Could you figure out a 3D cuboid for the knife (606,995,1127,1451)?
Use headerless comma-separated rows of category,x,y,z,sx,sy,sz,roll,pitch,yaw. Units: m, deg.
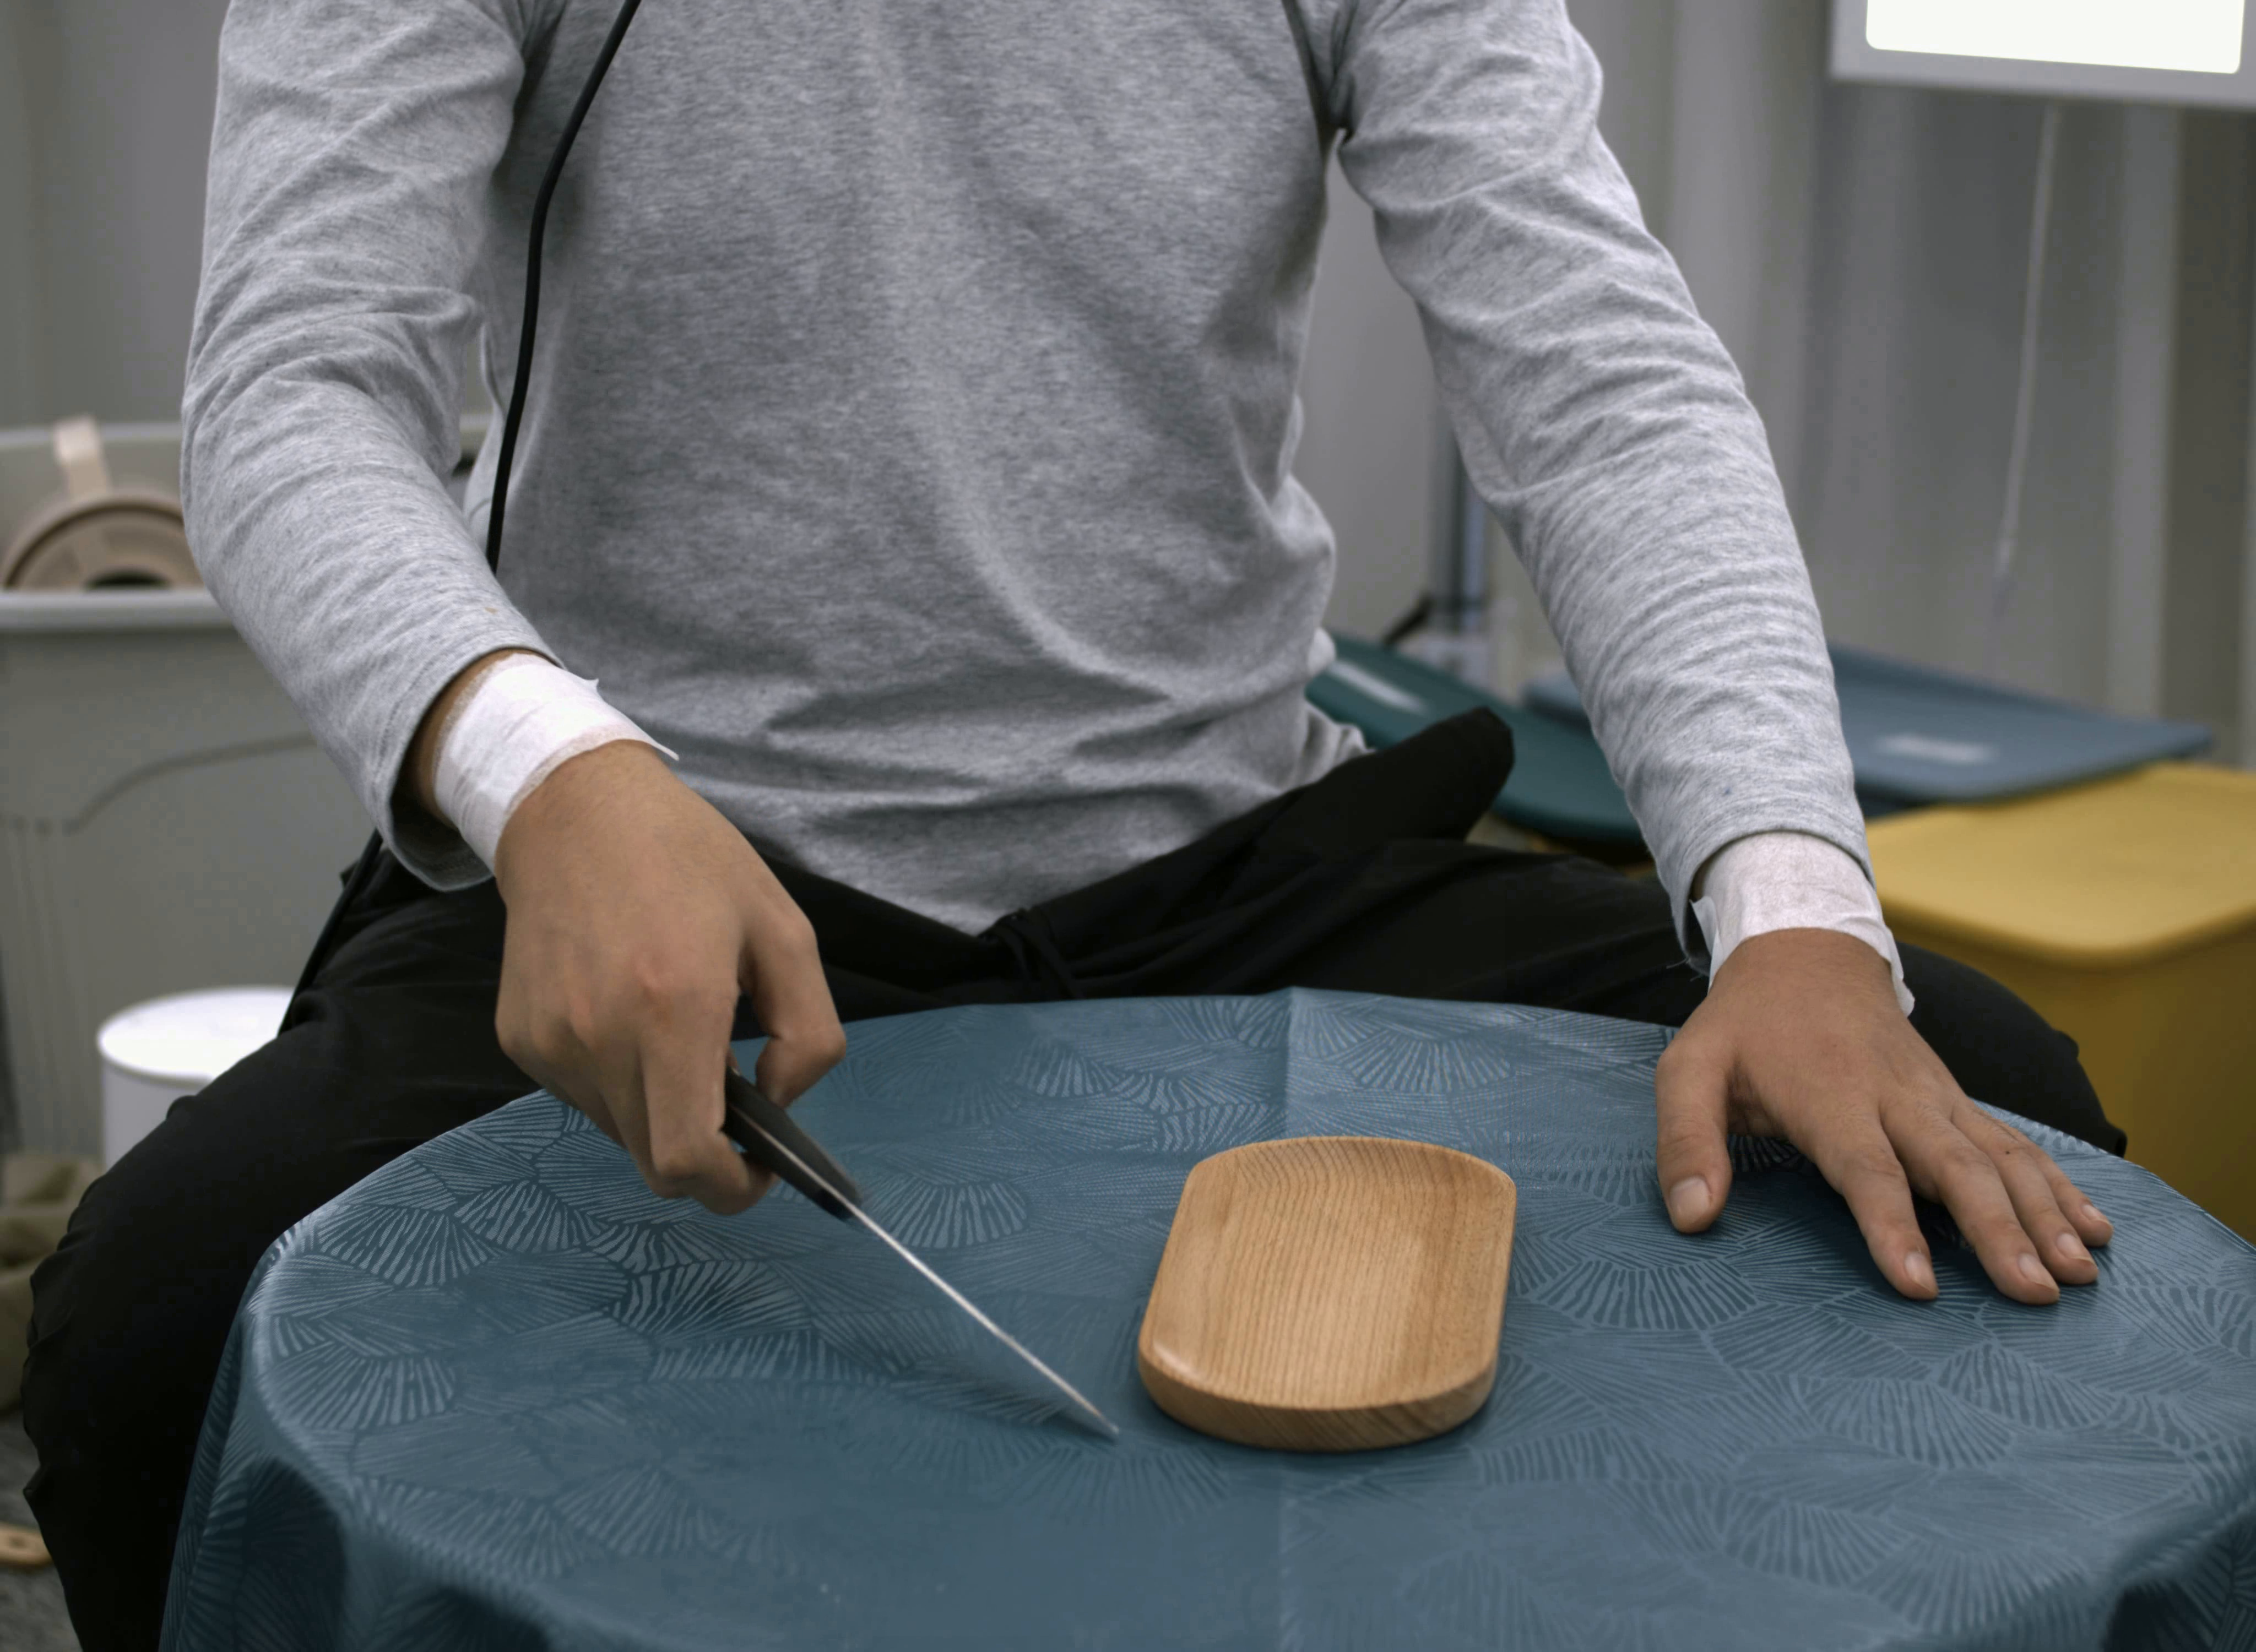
knife,-0.077,0.111,1.494,0.235,0.016,0.025,37,-2,36

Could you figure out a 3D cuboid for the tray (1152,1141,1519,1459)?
tray,0.062,0.134,1.520,0.101,0.020,0.230,0,17,4
